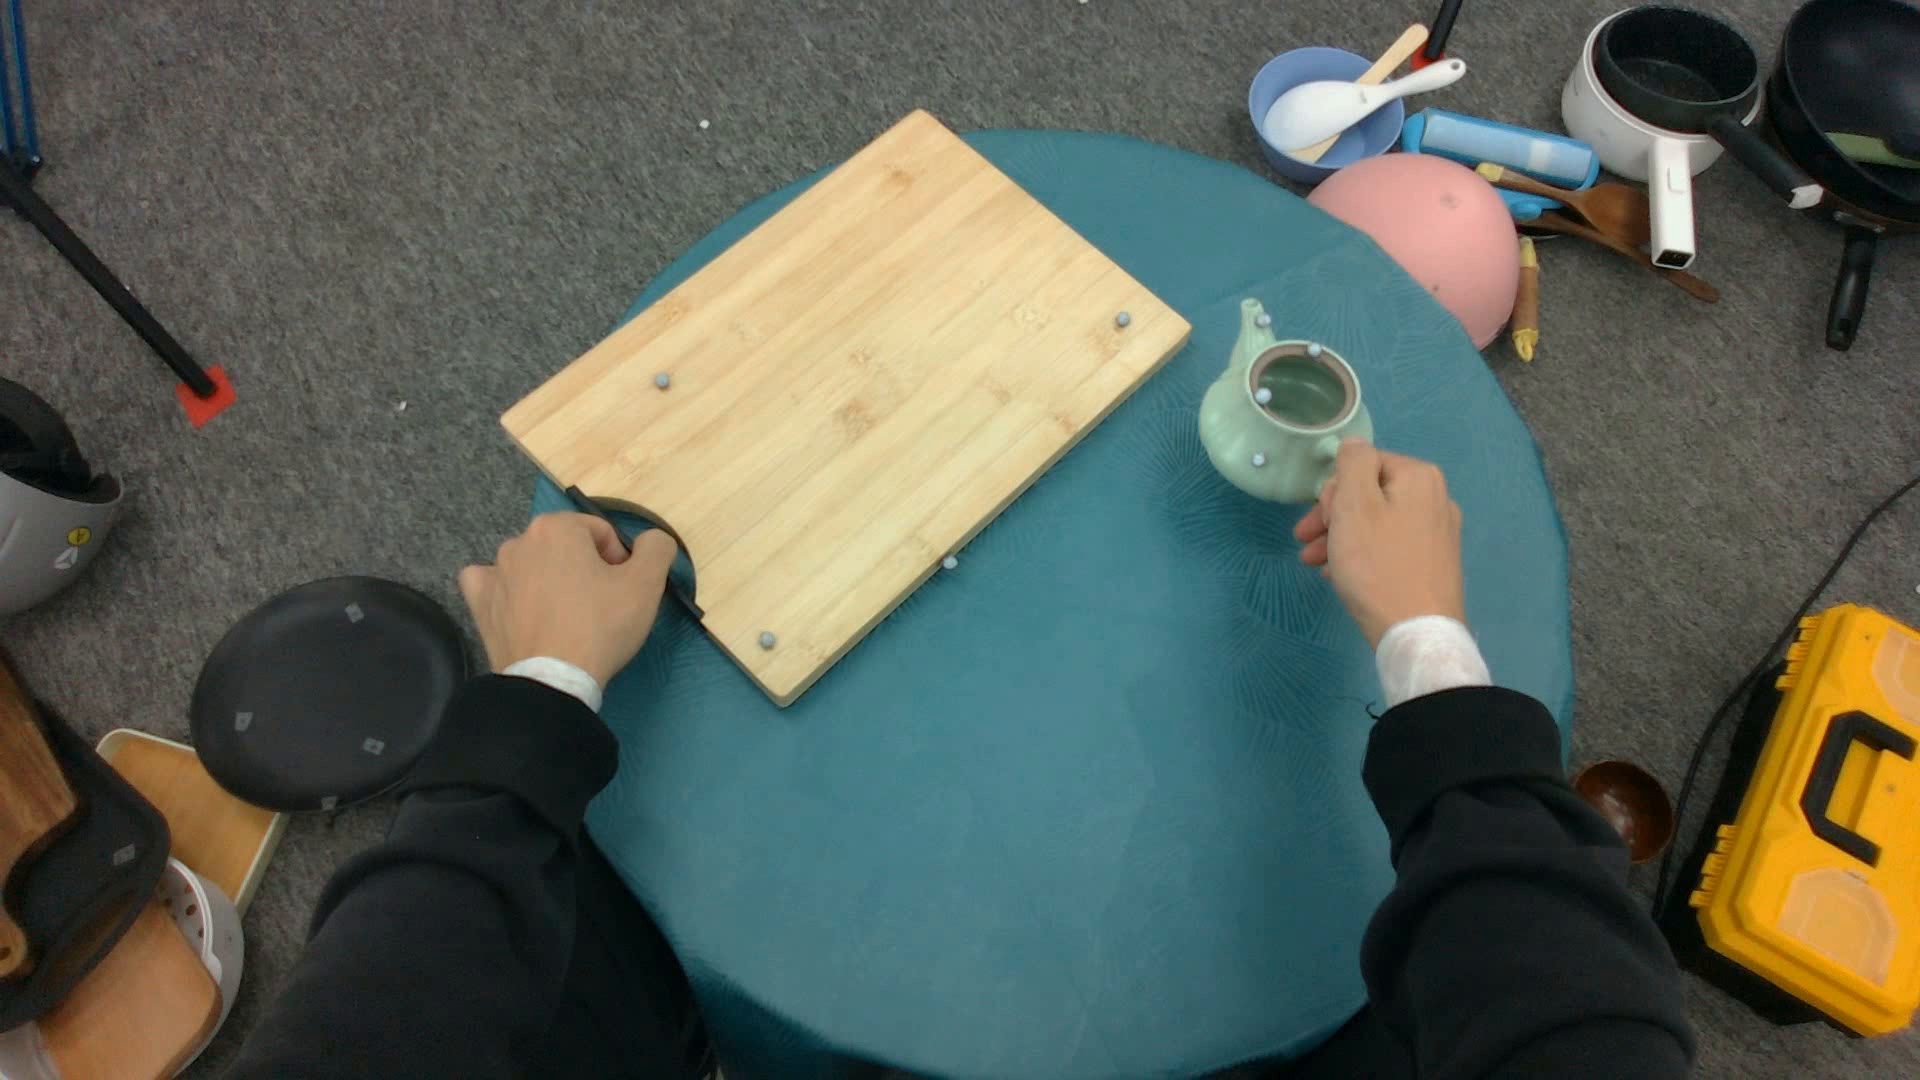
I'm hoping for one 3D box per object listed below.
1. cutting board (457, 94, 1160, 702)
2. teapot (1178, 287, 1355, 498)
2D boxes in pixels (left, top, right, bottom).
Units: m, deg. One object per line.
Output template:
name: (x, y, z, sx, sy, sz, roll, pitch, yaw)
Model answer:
cutting board: (-0.080, -0.102, 0.820, 0.251, 0.023, 0.350, 40, 69, 15)
teapot: (0.173, -0.074, 0.761, 0.096, 0.061, 0.137, -19, 61, -15)
